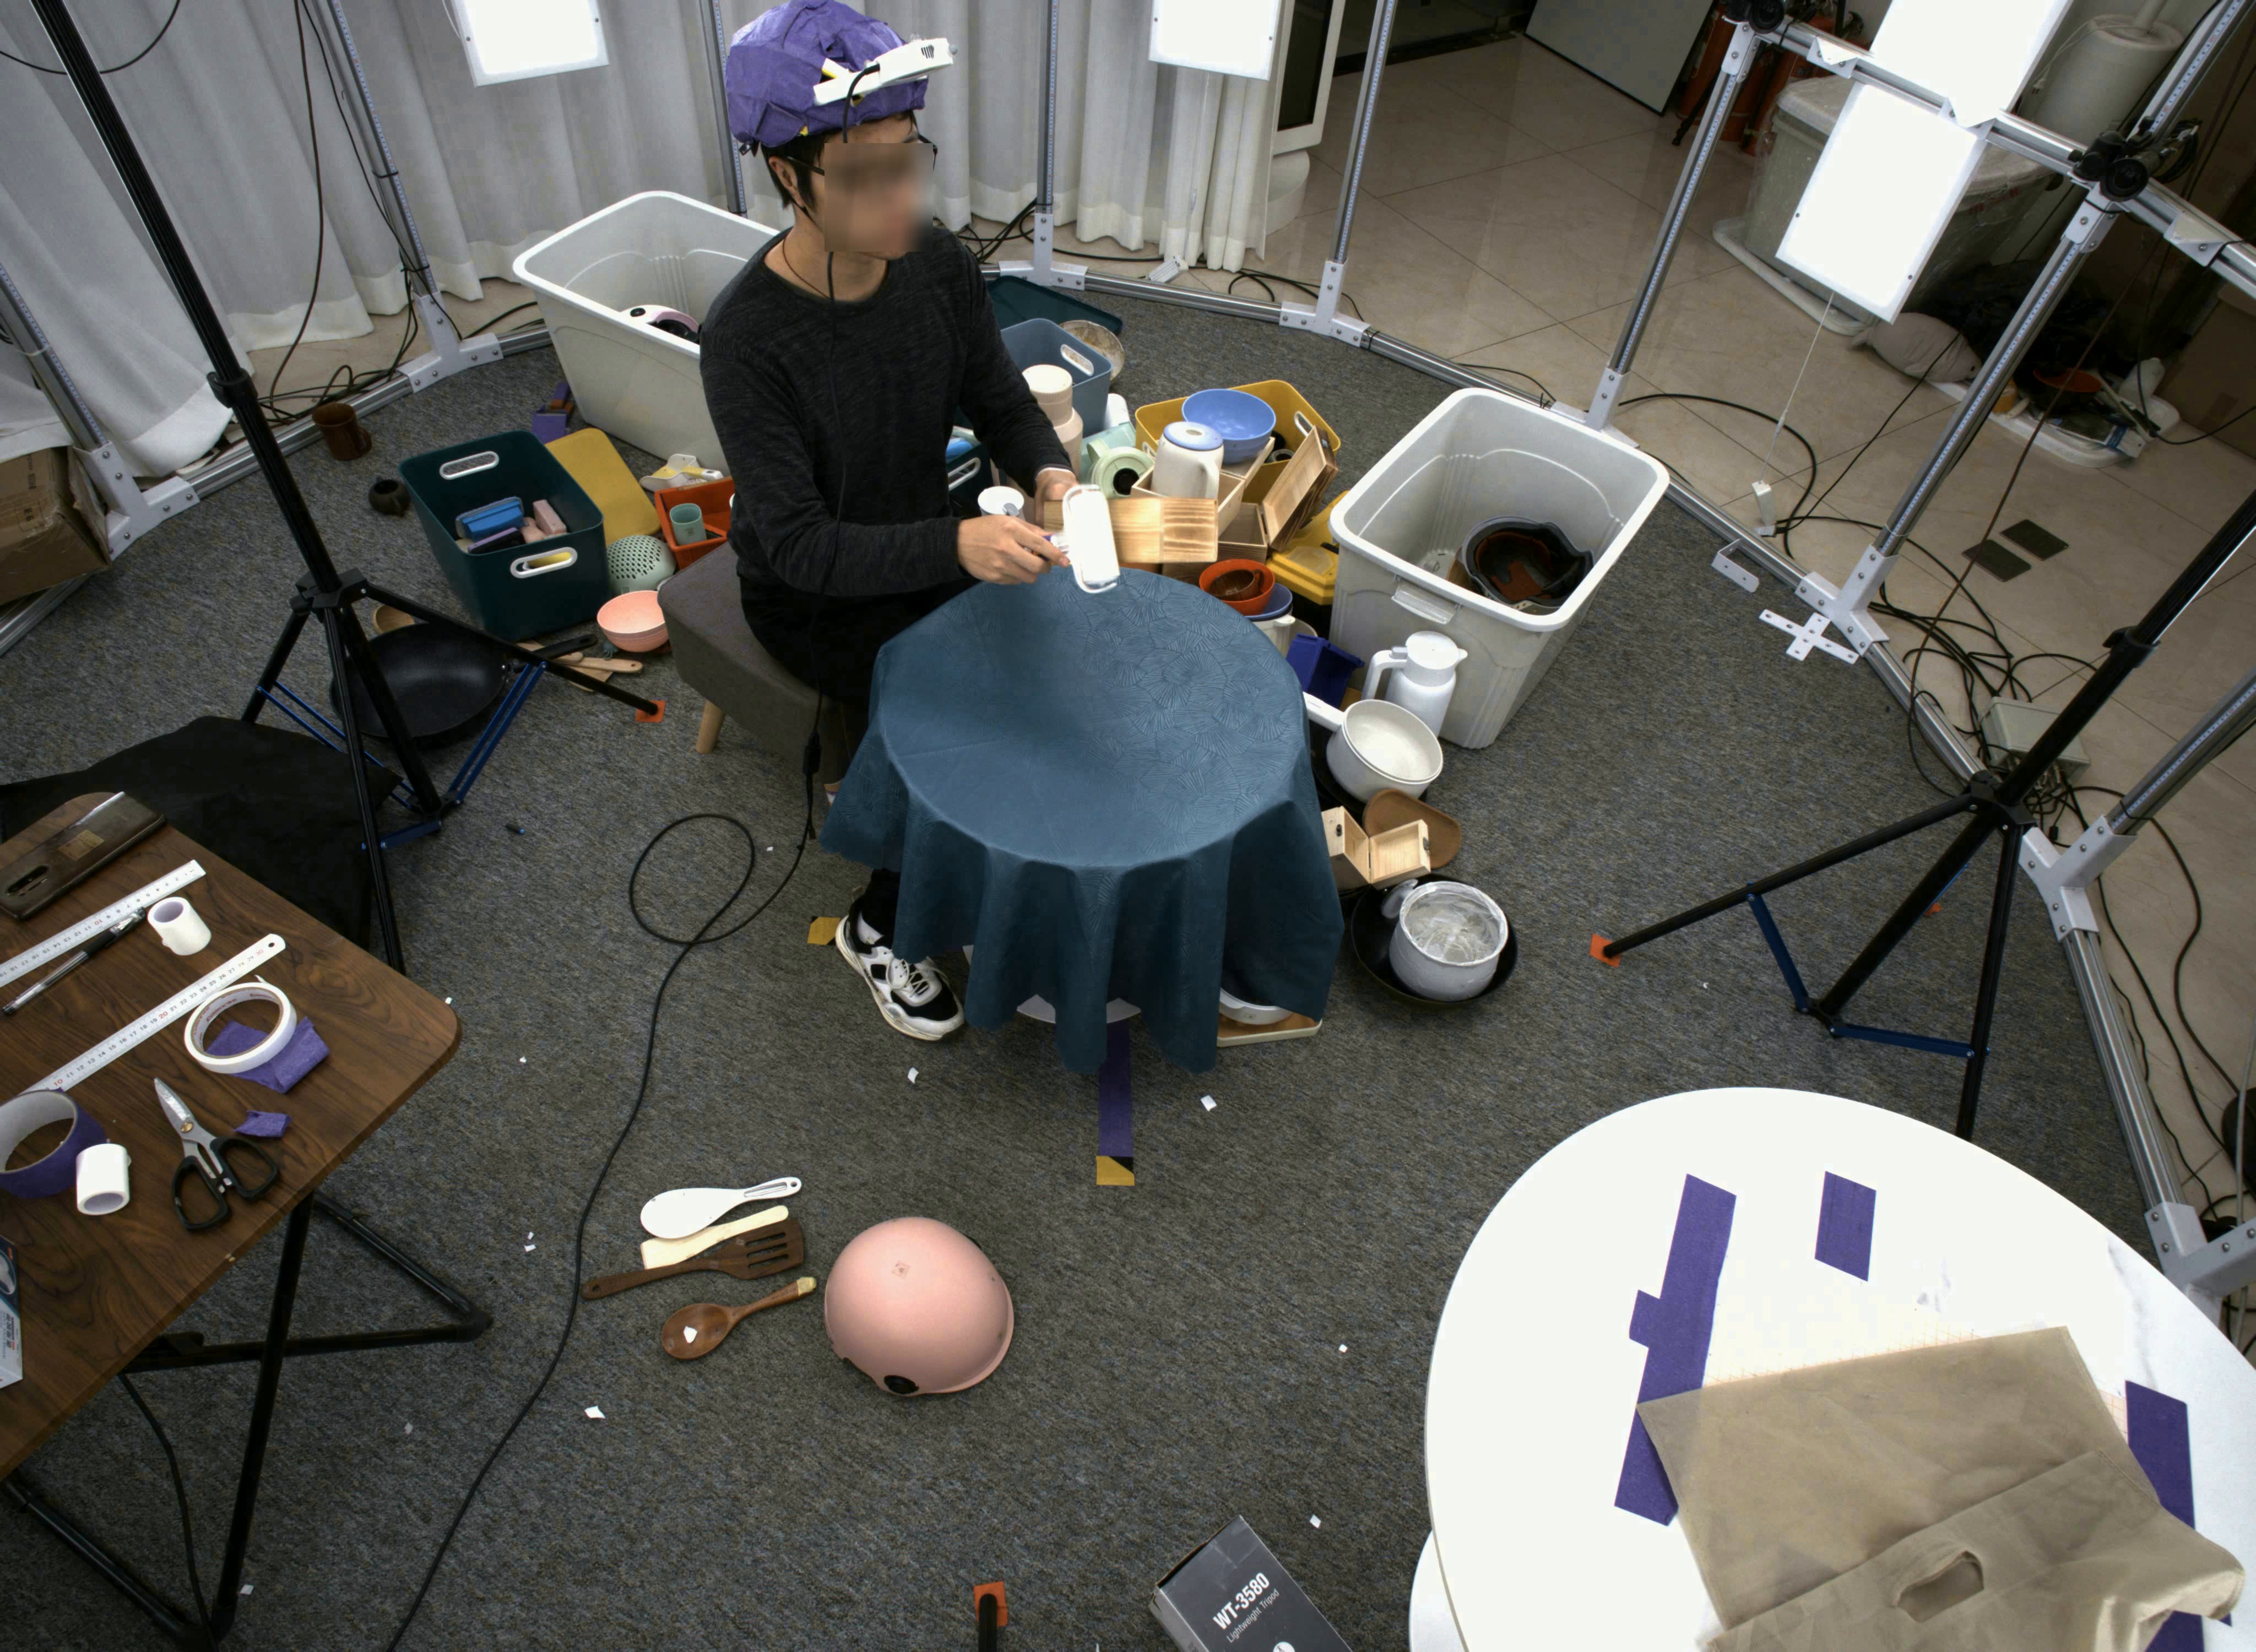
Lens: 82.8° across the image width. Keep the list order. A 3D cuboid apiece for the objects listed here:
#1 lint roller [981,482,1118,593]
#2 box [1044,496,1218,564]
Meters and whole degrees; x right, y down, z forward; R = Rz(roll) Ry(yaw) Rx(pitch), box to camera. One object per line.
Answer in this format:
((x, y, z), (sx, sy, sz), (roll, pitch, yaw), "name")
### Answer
((-0.106, -0.344, 1.586), (0.181, 0.132, 0.050), (-6, 11, 19), "lint roller")
((0.002, -0.377, 1.648), (0.213, 0.079, 0.107), (11, 16, 44), "box")
